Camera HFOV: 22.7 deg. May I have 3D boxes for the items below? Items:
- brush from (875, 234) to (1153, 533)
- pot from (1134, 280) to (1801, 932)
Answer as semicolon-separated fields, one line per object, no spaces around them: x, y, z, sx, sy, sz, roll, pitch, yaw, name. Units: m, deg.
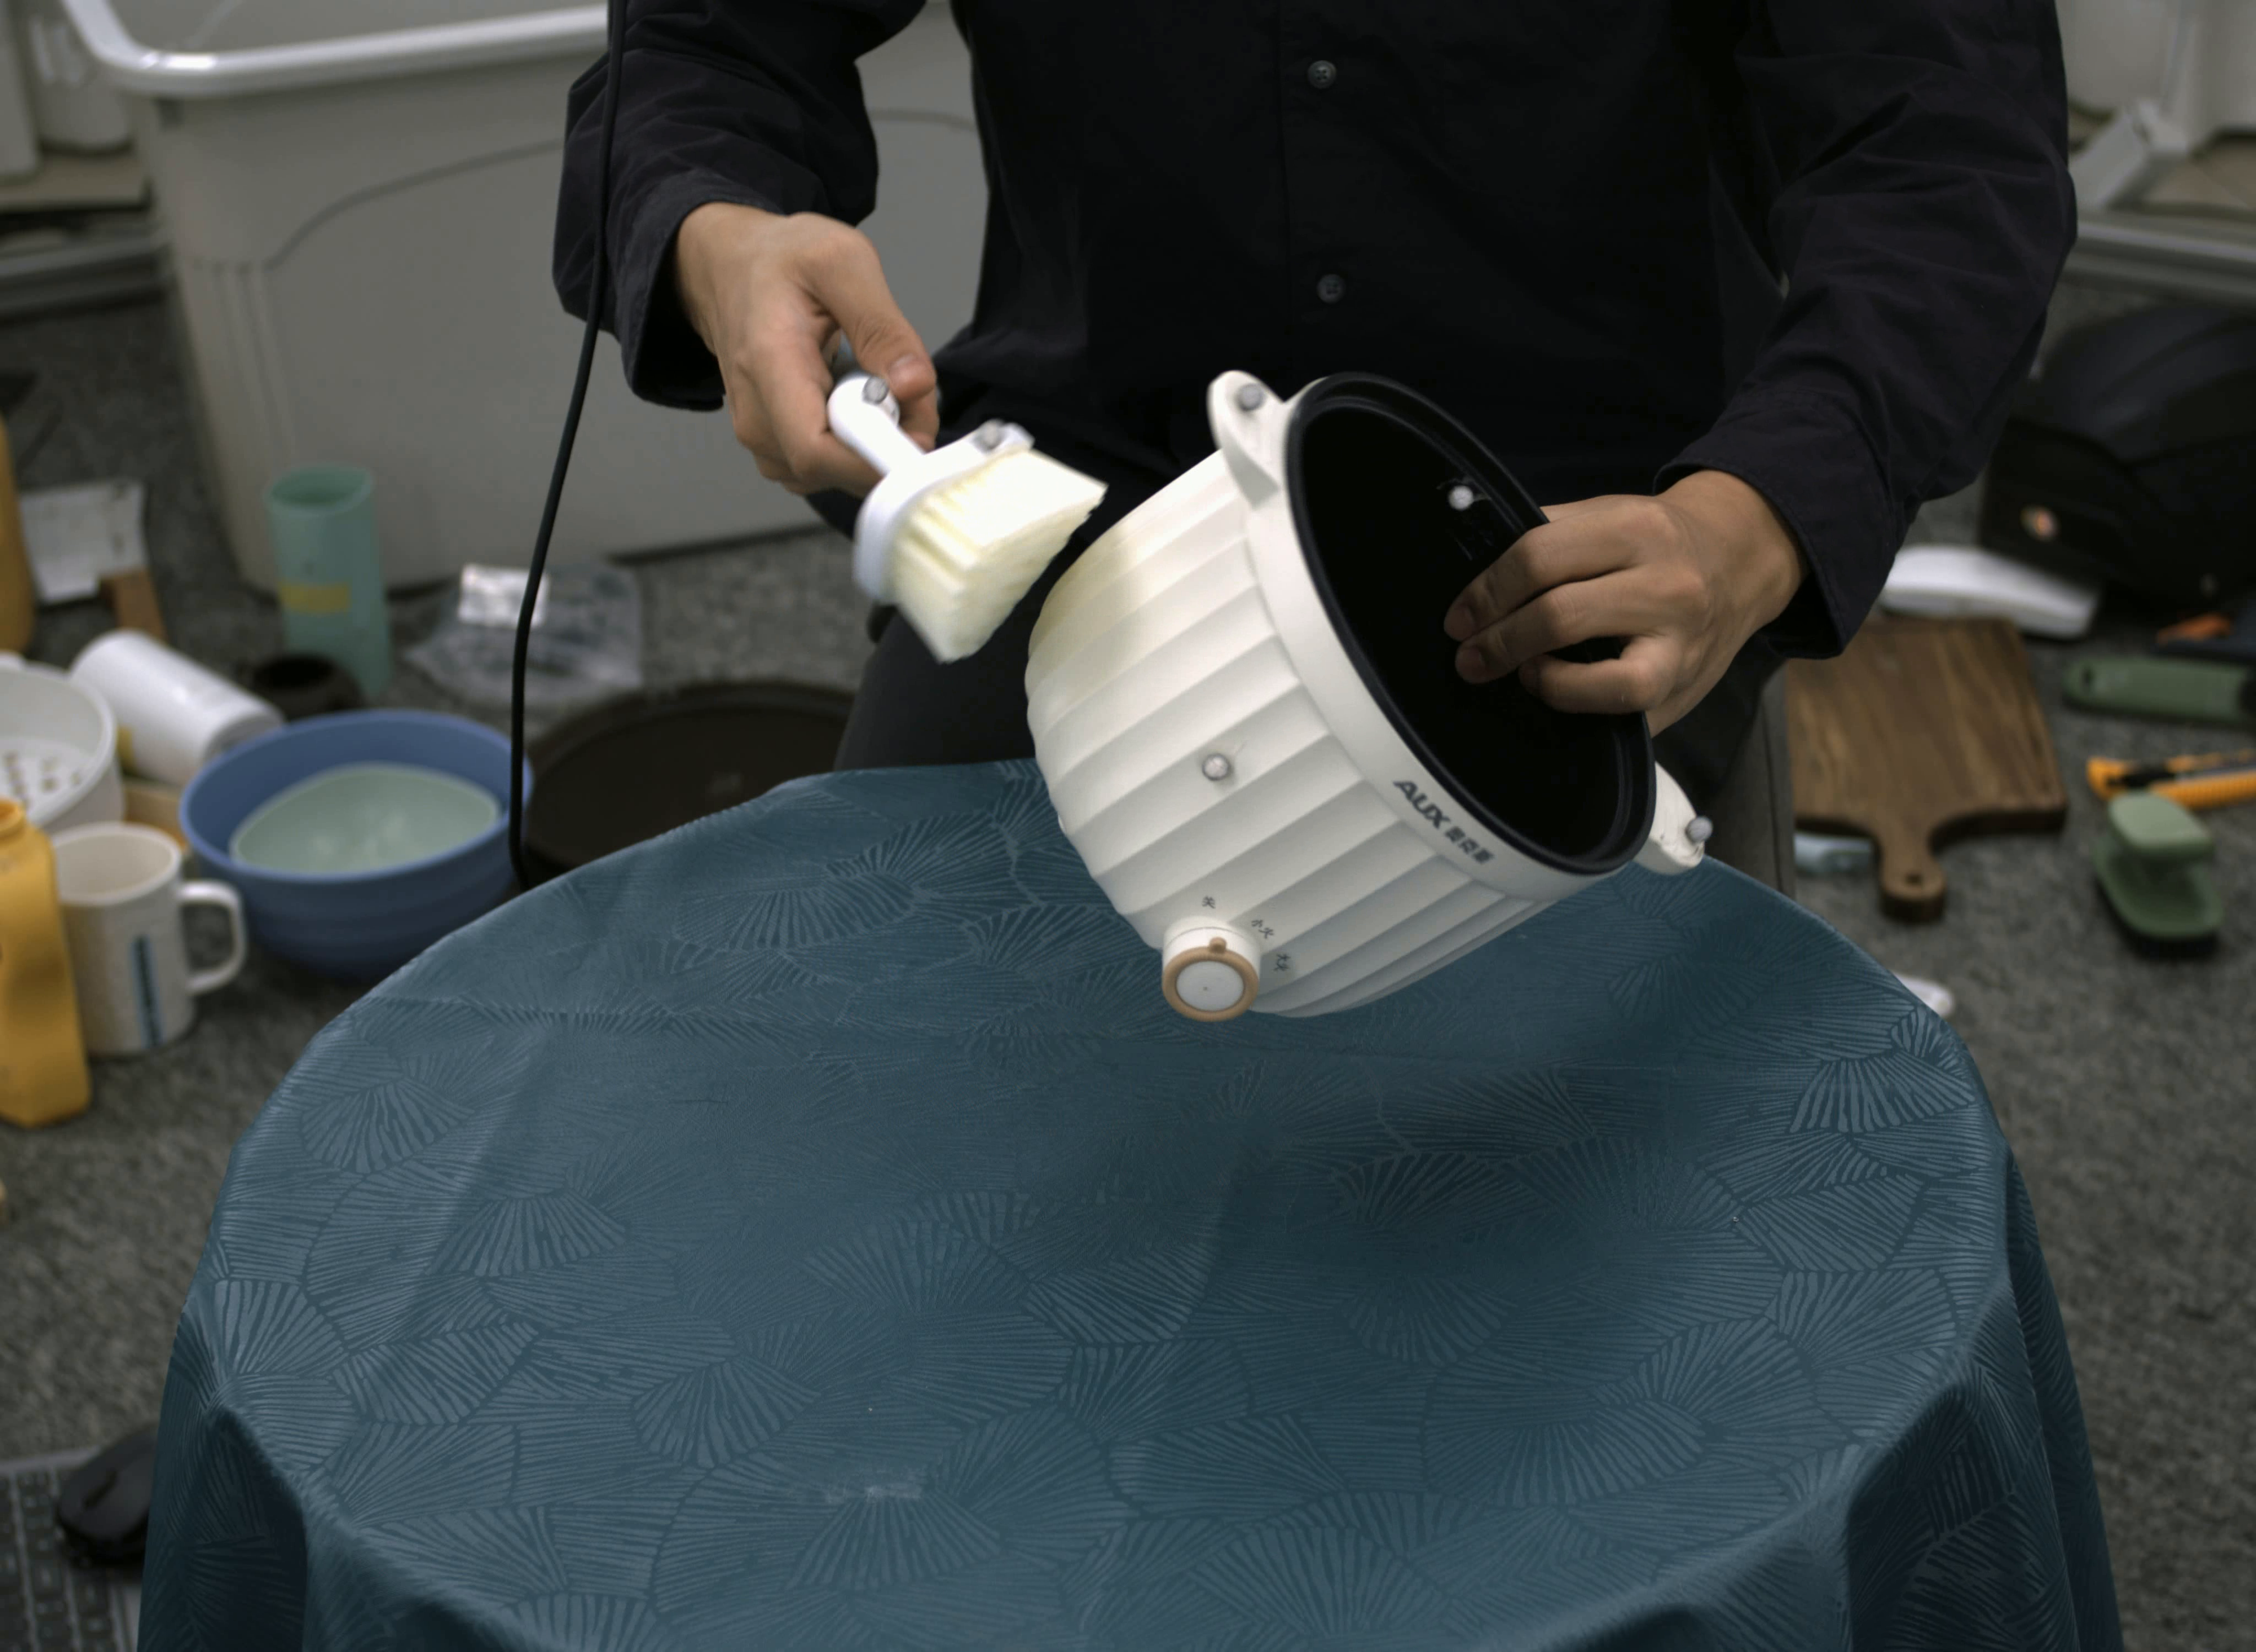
-0.035;-0.150;1.875;0.083;0.084;0.327;-15;11;0;brush
0.096;-0.060;1.815;0.140;0.239;0.194;-35;31;26;pot
